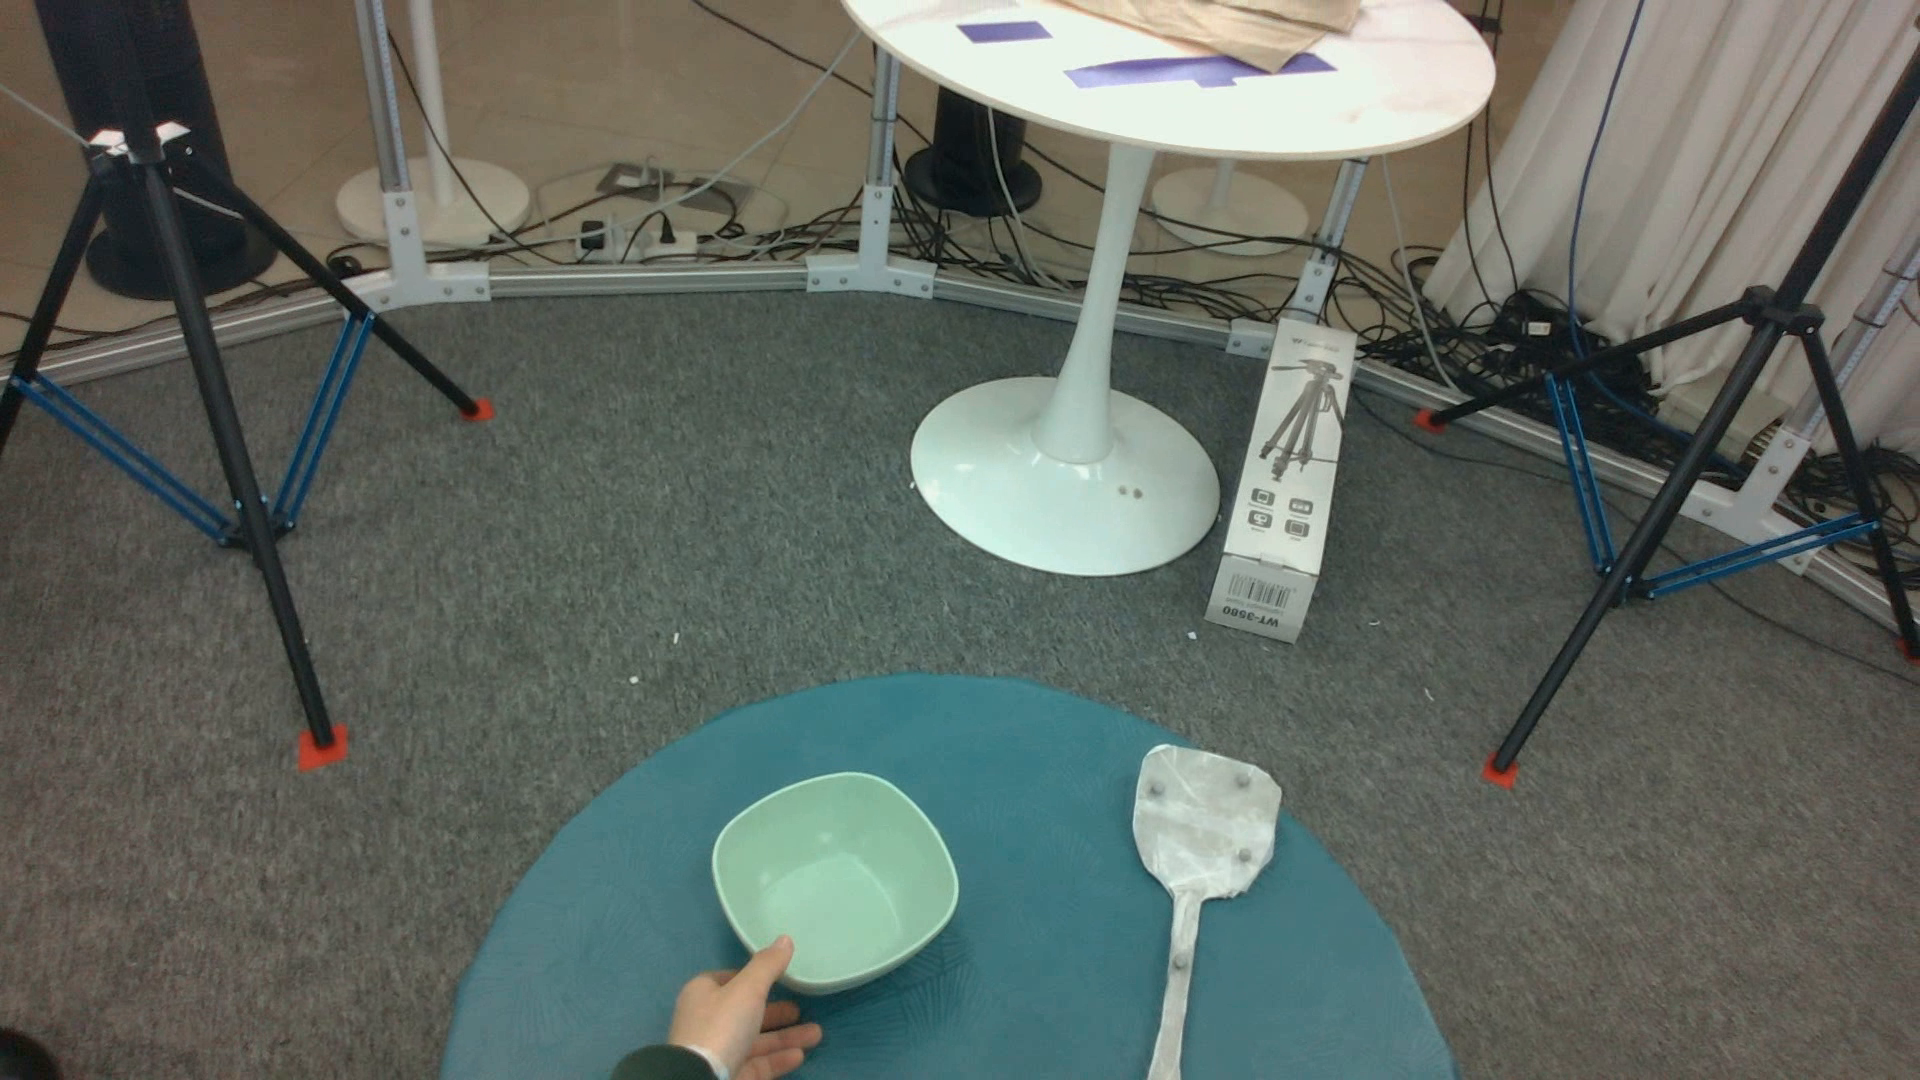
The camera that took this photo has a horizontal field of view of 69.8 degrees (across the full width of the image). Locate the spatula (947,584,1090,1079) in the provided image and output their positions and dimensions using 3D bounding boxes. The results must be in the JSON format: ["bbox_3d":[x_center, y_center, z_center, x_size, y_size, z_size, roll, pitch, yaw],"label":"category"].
[{"bbox_3d":[0.026,0.177,0.876,0.099,0.044,0.367,12,45,-4],"label":"spatula"}]

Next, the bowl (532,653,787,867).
[{"bbox_3d":[-0.184,0.144,0.847,0.151,0.058,0.152,7,43,-6],"label":"bowl"}]
